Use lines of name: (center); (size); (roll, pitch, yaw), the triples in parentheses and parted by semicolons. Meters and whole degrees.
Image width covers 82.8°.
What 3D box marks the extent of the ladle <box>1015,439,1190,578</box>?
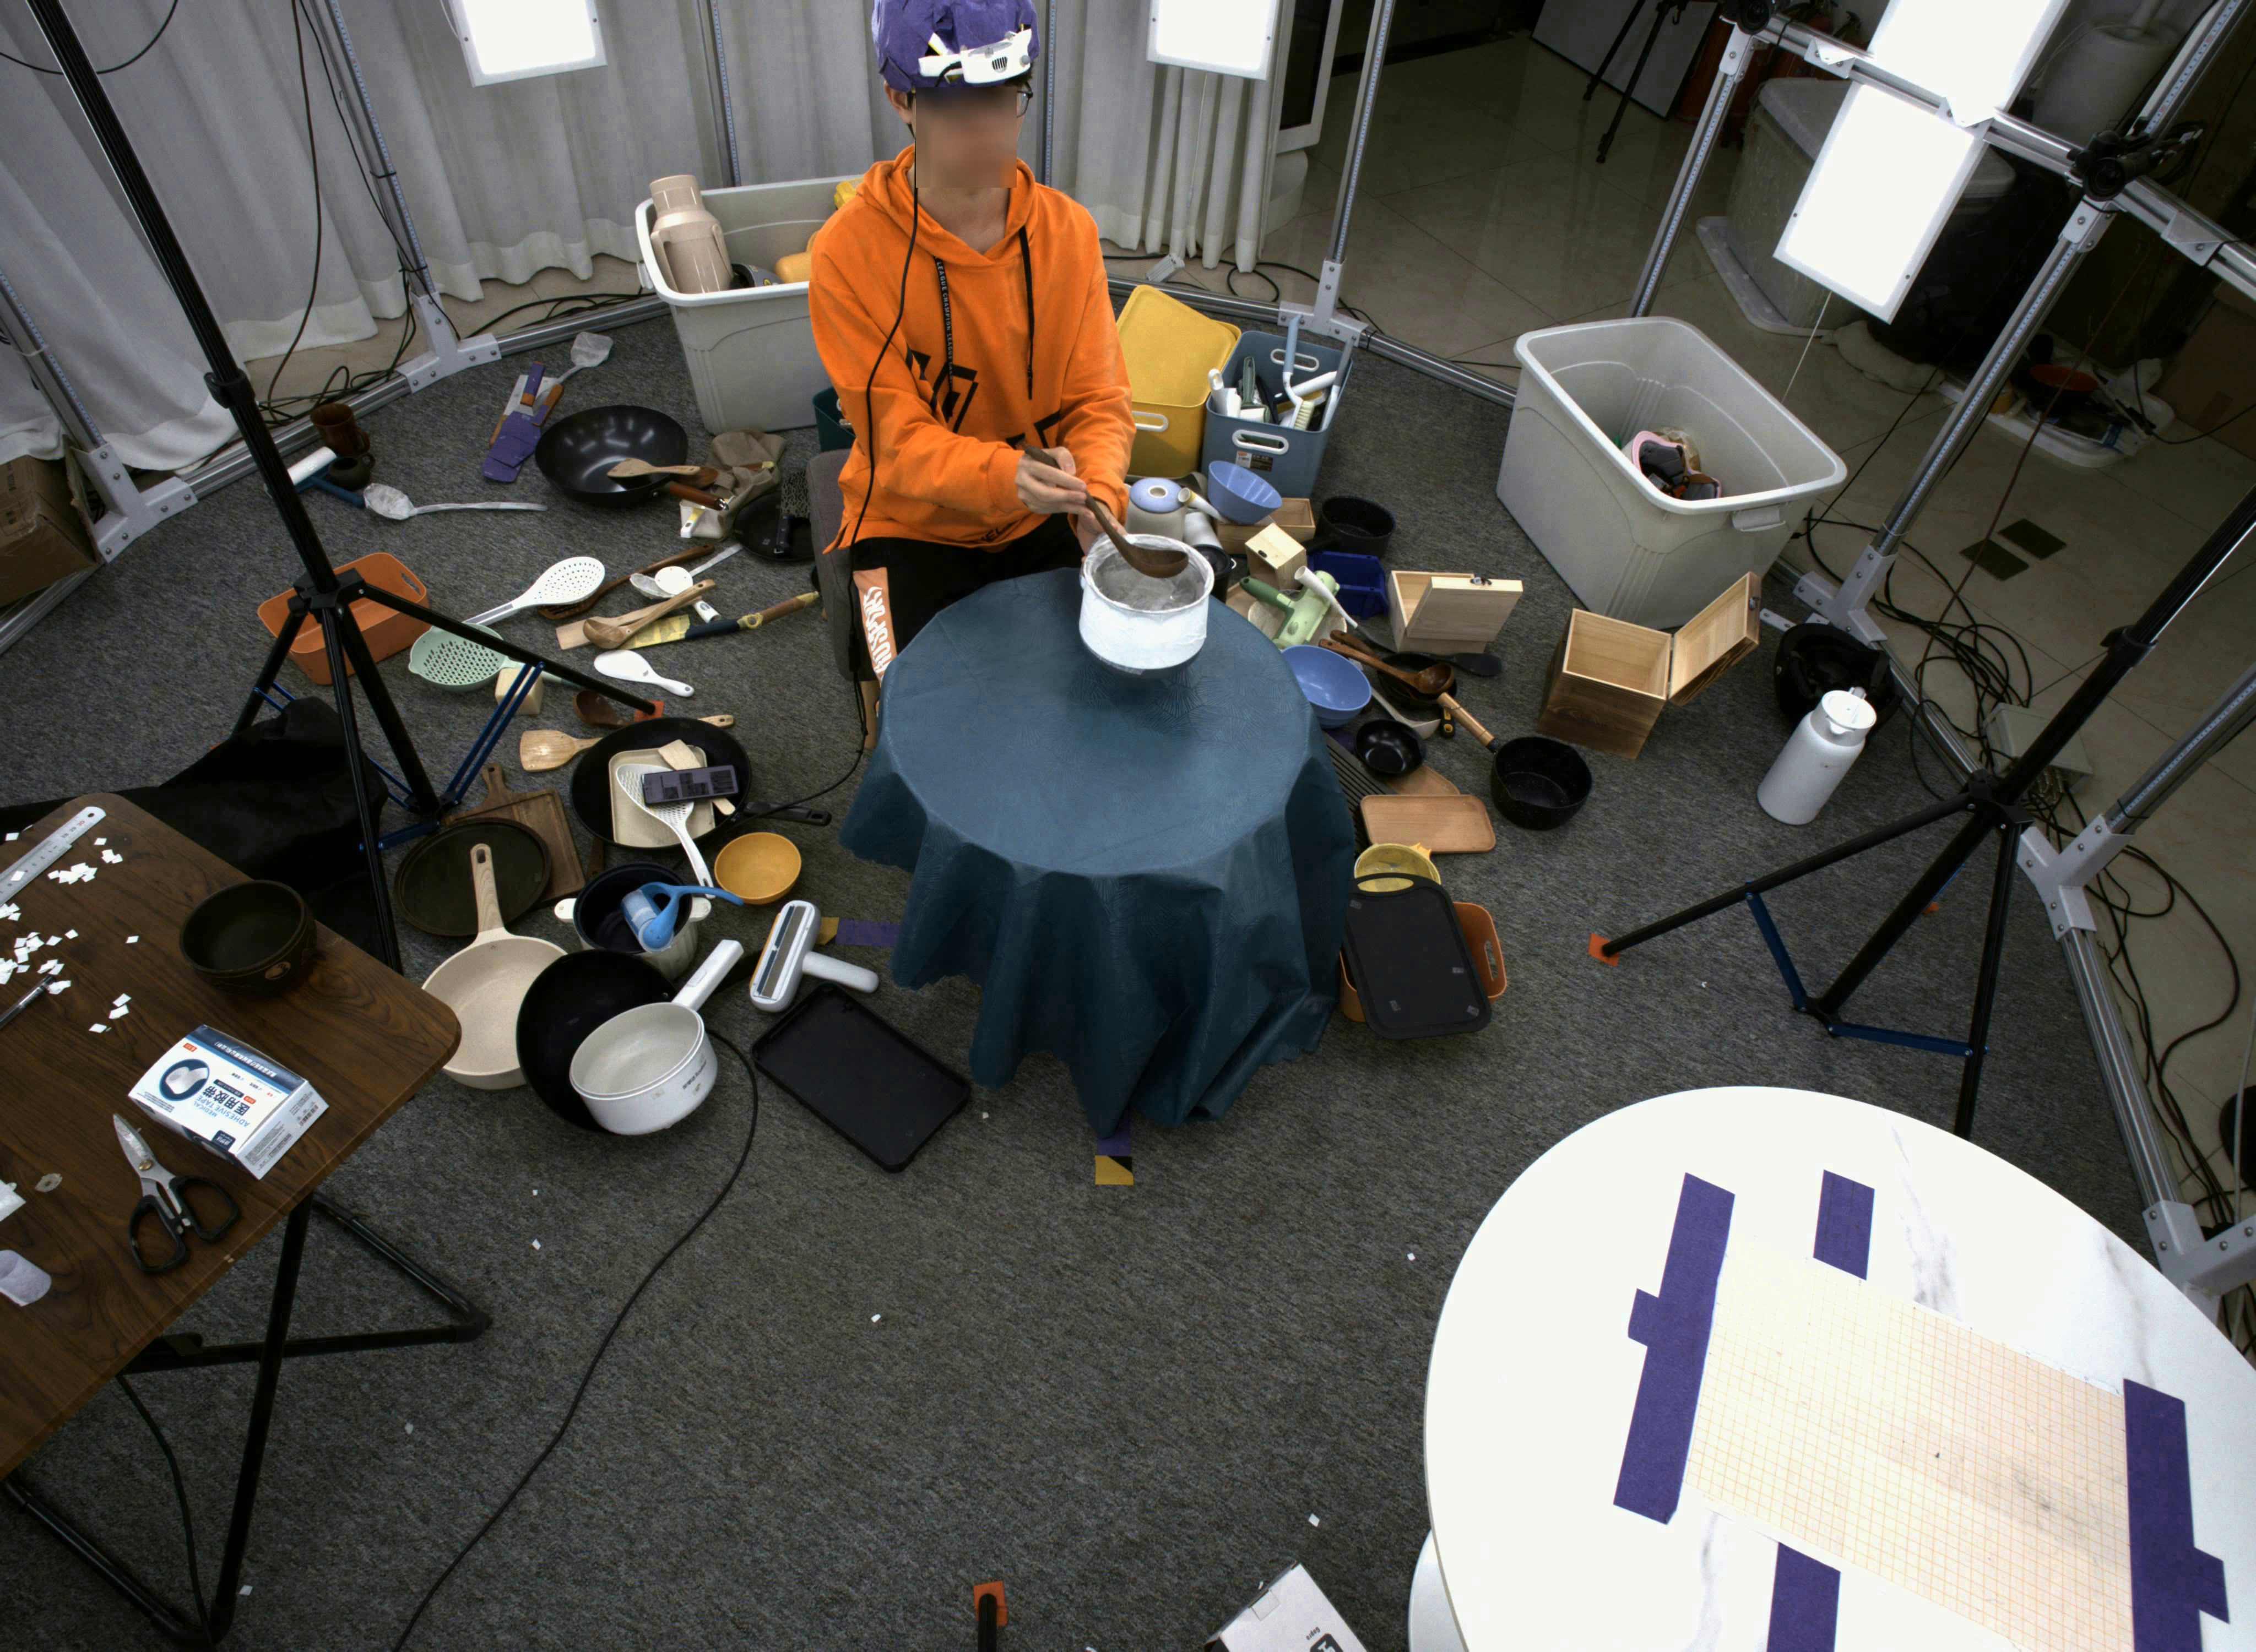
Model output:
ladle: (-0.029, -0.432, 1.718); (0.272, 0.071, 0.077); (45, 20, -12)

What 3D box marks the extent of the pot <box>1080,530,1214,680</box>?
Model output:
pot: (0.007, -0.316, 1.789); (0.179, 0.133, 0.238); (-23, 52, -26)
